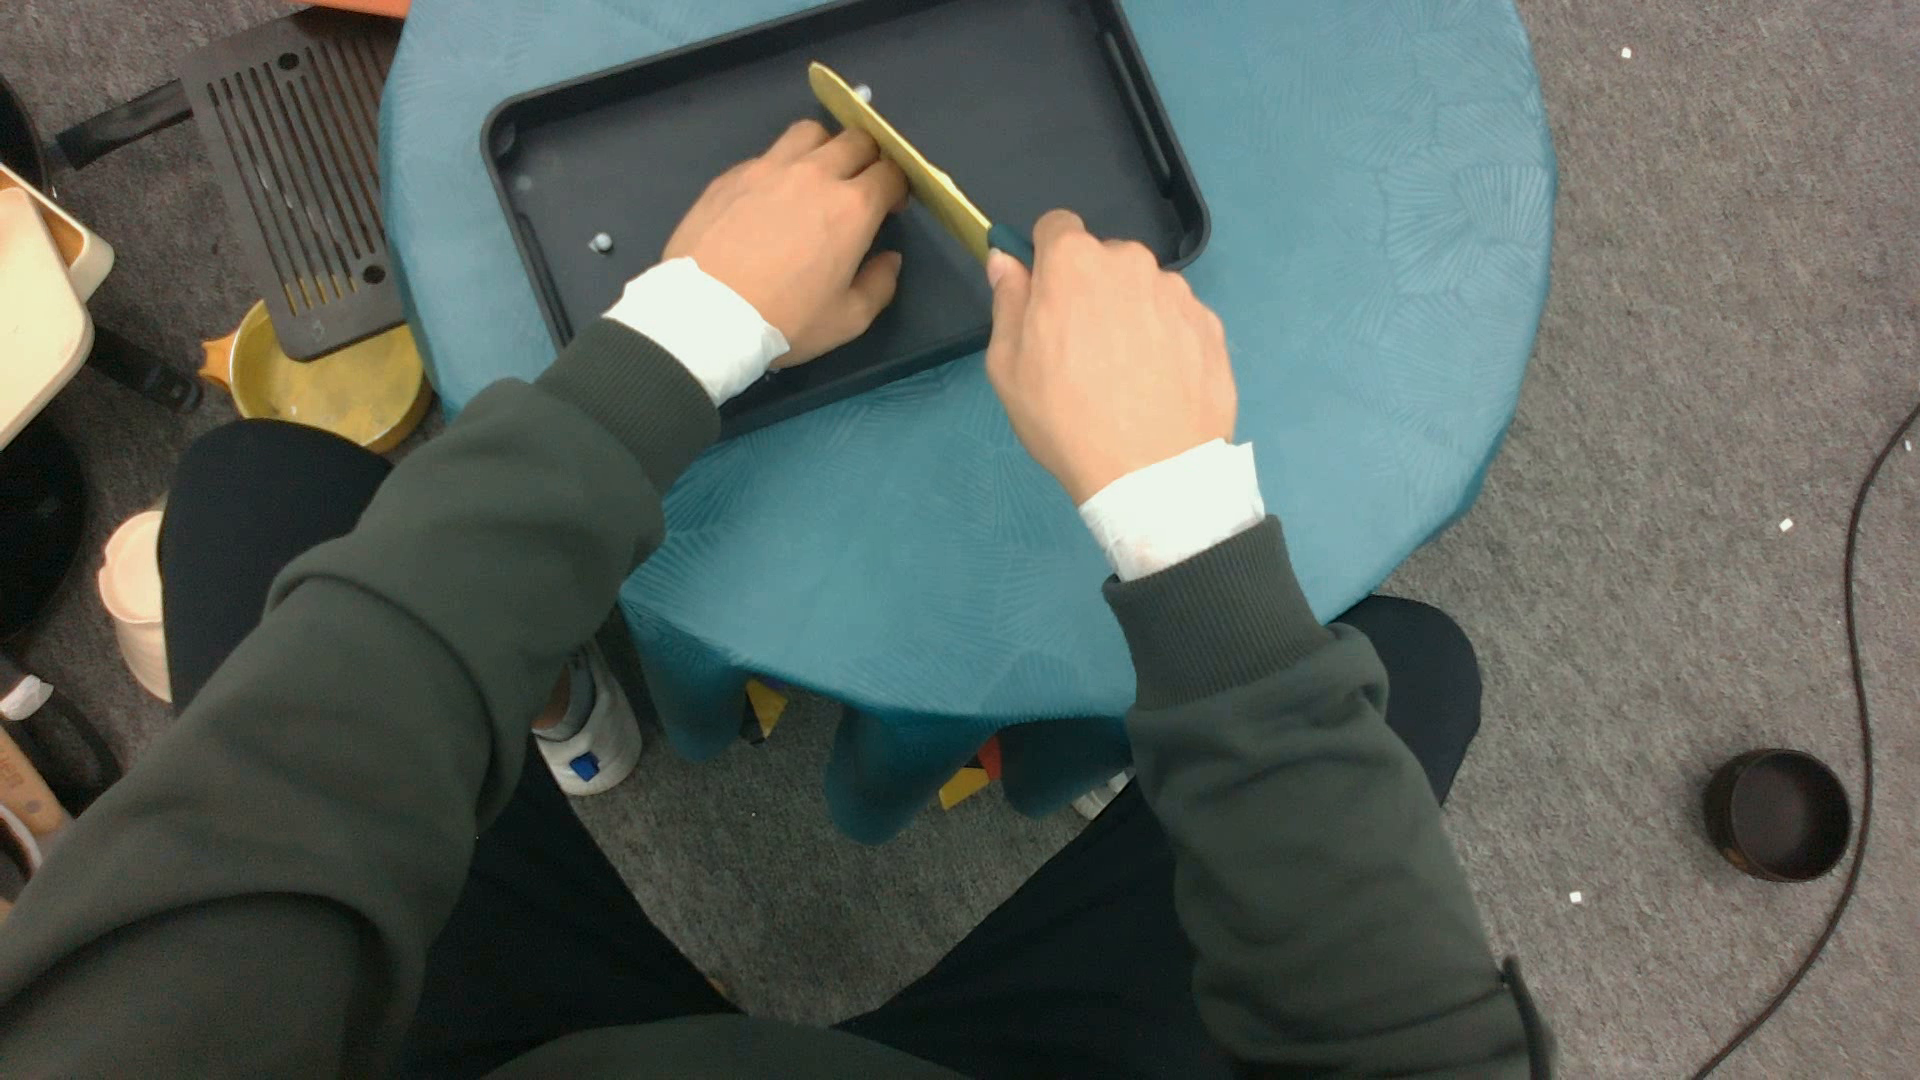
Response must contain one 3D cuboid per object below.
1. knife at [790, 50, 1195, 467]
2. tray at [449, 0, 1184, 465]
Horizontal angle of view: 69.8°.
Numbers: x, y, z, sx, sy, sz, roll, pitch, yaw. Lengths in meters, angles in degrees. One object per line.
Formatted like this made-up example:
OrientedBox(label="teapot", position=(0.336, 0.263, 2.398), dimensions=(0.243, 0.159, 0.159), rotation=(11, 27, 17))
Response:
OrientedBox(label="knife", position=(0.005, -0.132, 0.612), dimensions=(0.027, 0.081, 0.290), rotation=(-41, 66, 2))
OrientedBox(label="tray", position=(-0.065, -0.171, 0.672), dimensions=(0.318, 0.037, 0.184), rotation=(-23, 84, -10))
